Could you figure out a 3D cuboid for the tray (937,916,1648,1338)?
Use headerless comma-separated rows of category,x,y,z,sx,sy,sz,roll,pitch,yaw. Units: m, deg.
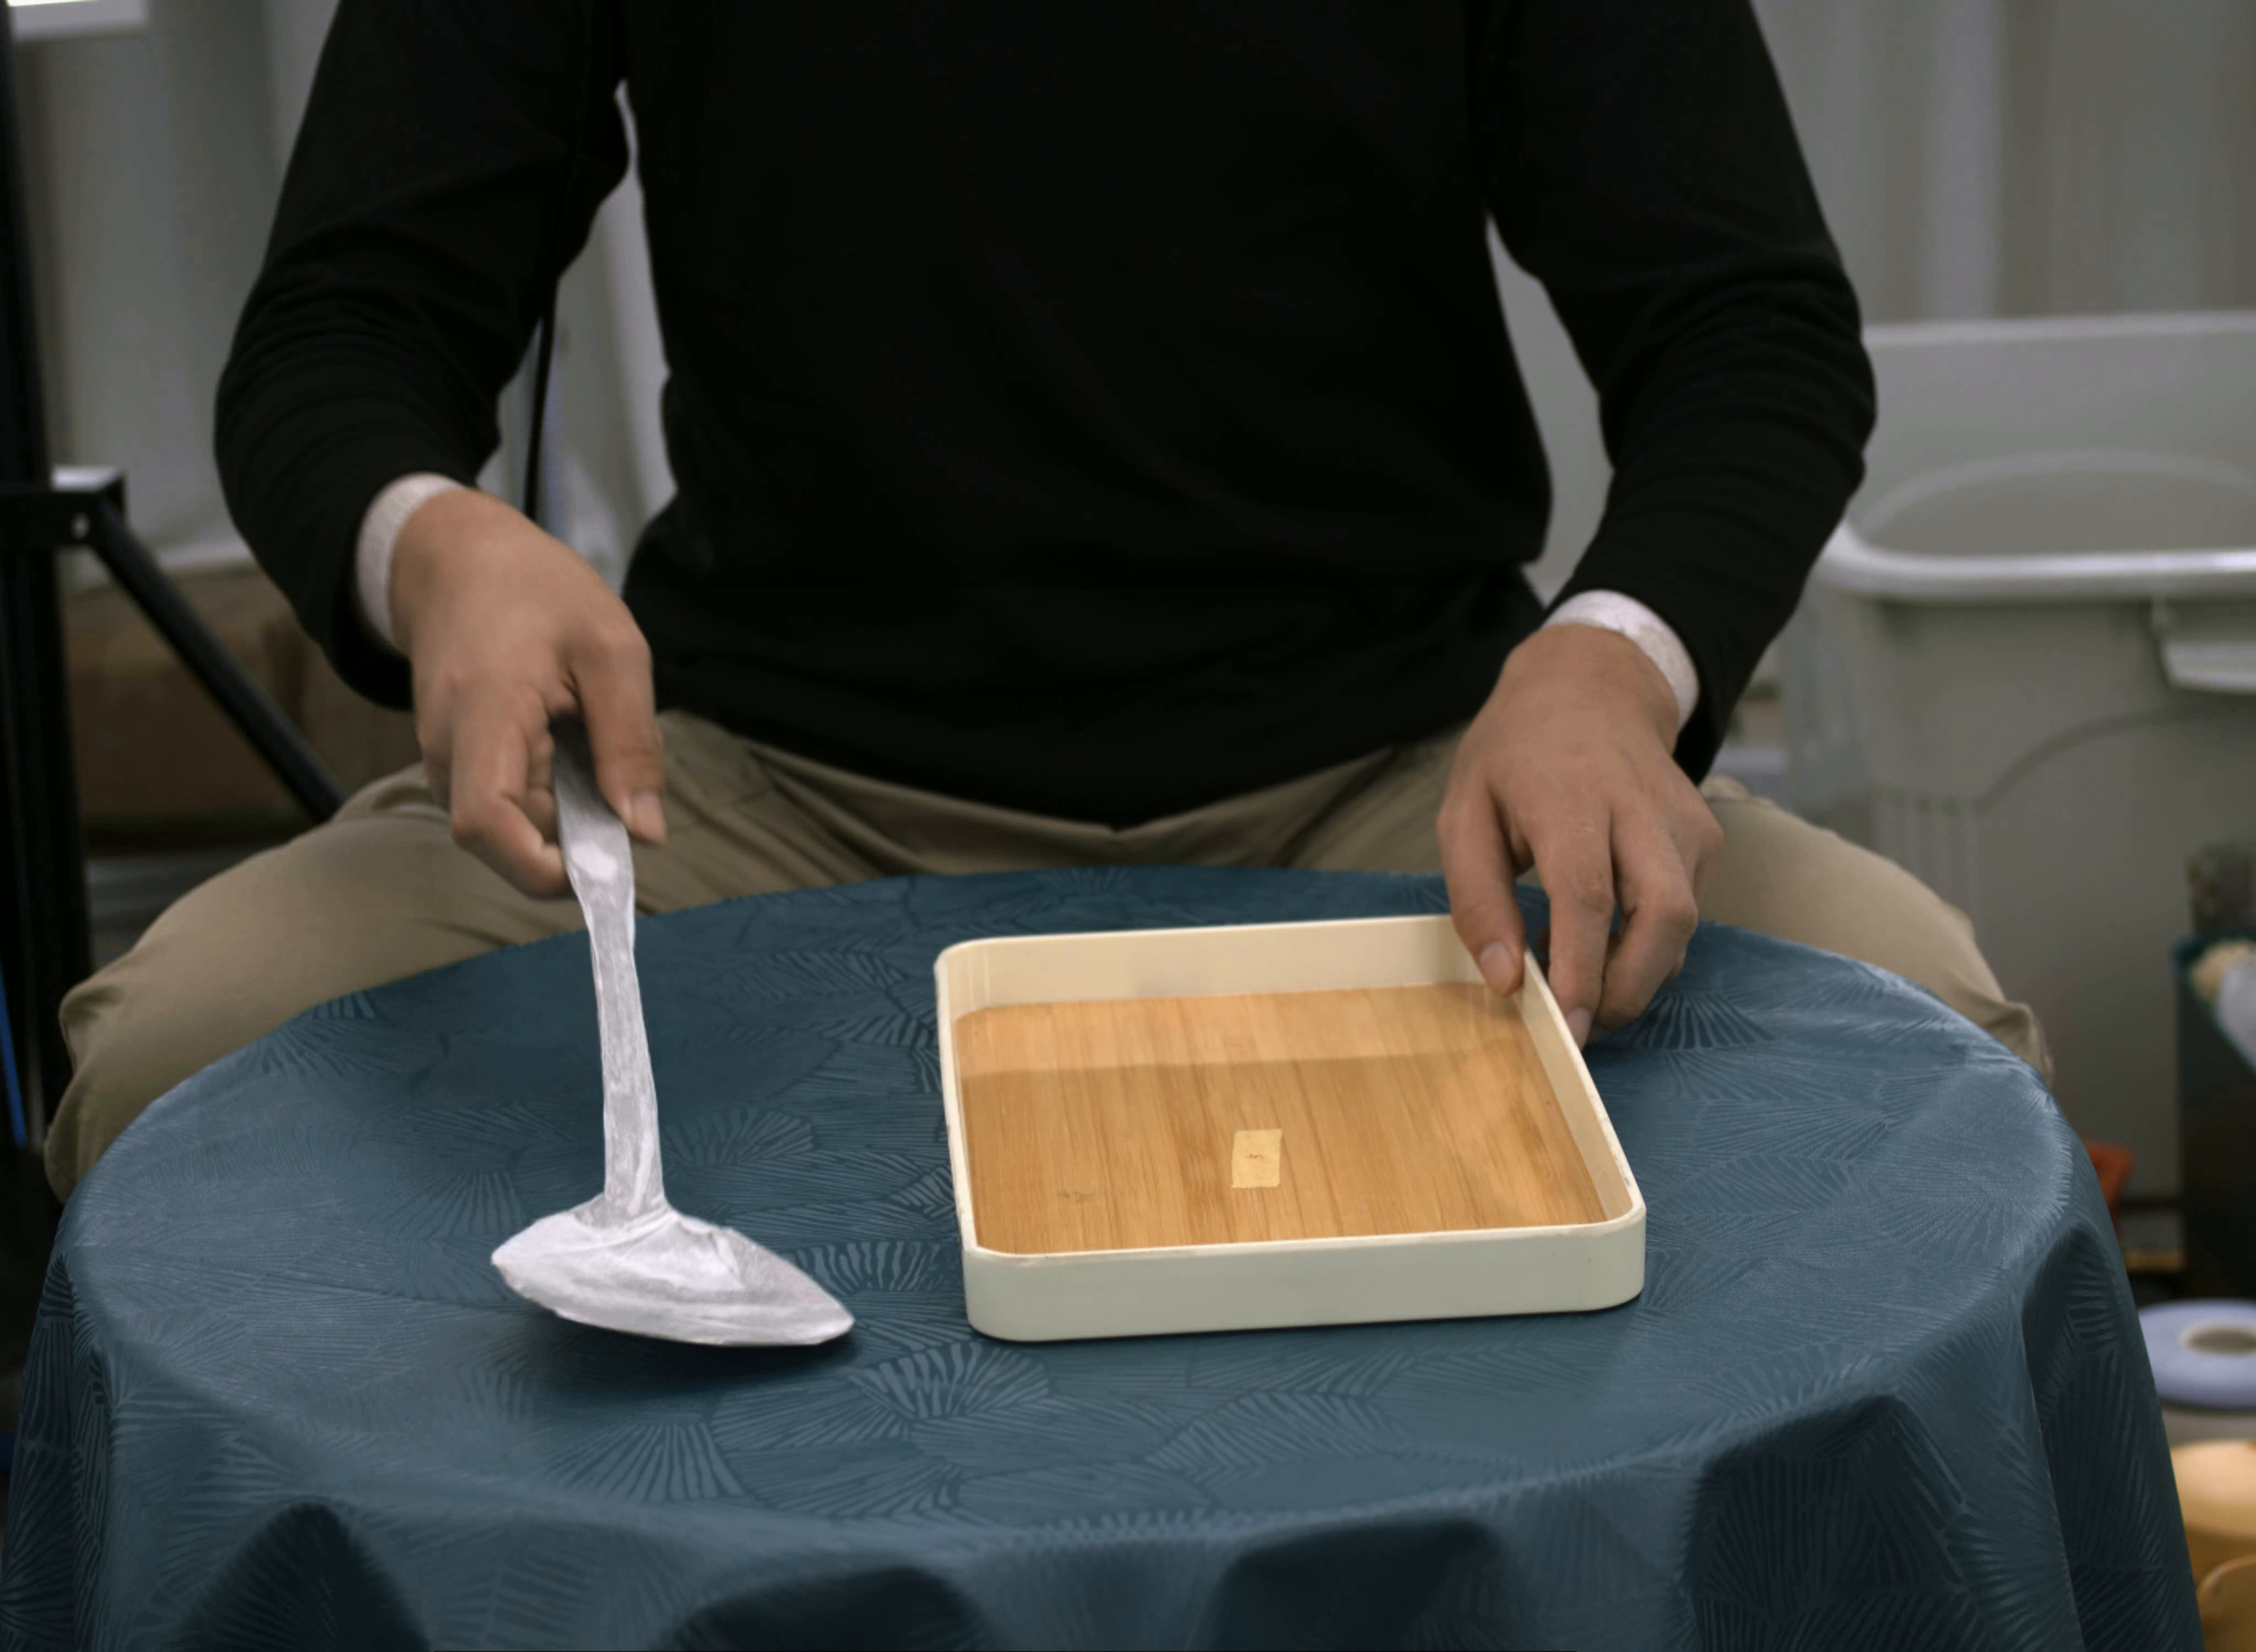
tray,0.042,0.085,1.581,0.190,0.027,0.302,-3,16,-2

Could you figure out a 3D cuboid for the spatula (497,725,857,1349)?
spatula,-0.146,0.051,1.574,0.097,0.045,0.370,7,32,-14
